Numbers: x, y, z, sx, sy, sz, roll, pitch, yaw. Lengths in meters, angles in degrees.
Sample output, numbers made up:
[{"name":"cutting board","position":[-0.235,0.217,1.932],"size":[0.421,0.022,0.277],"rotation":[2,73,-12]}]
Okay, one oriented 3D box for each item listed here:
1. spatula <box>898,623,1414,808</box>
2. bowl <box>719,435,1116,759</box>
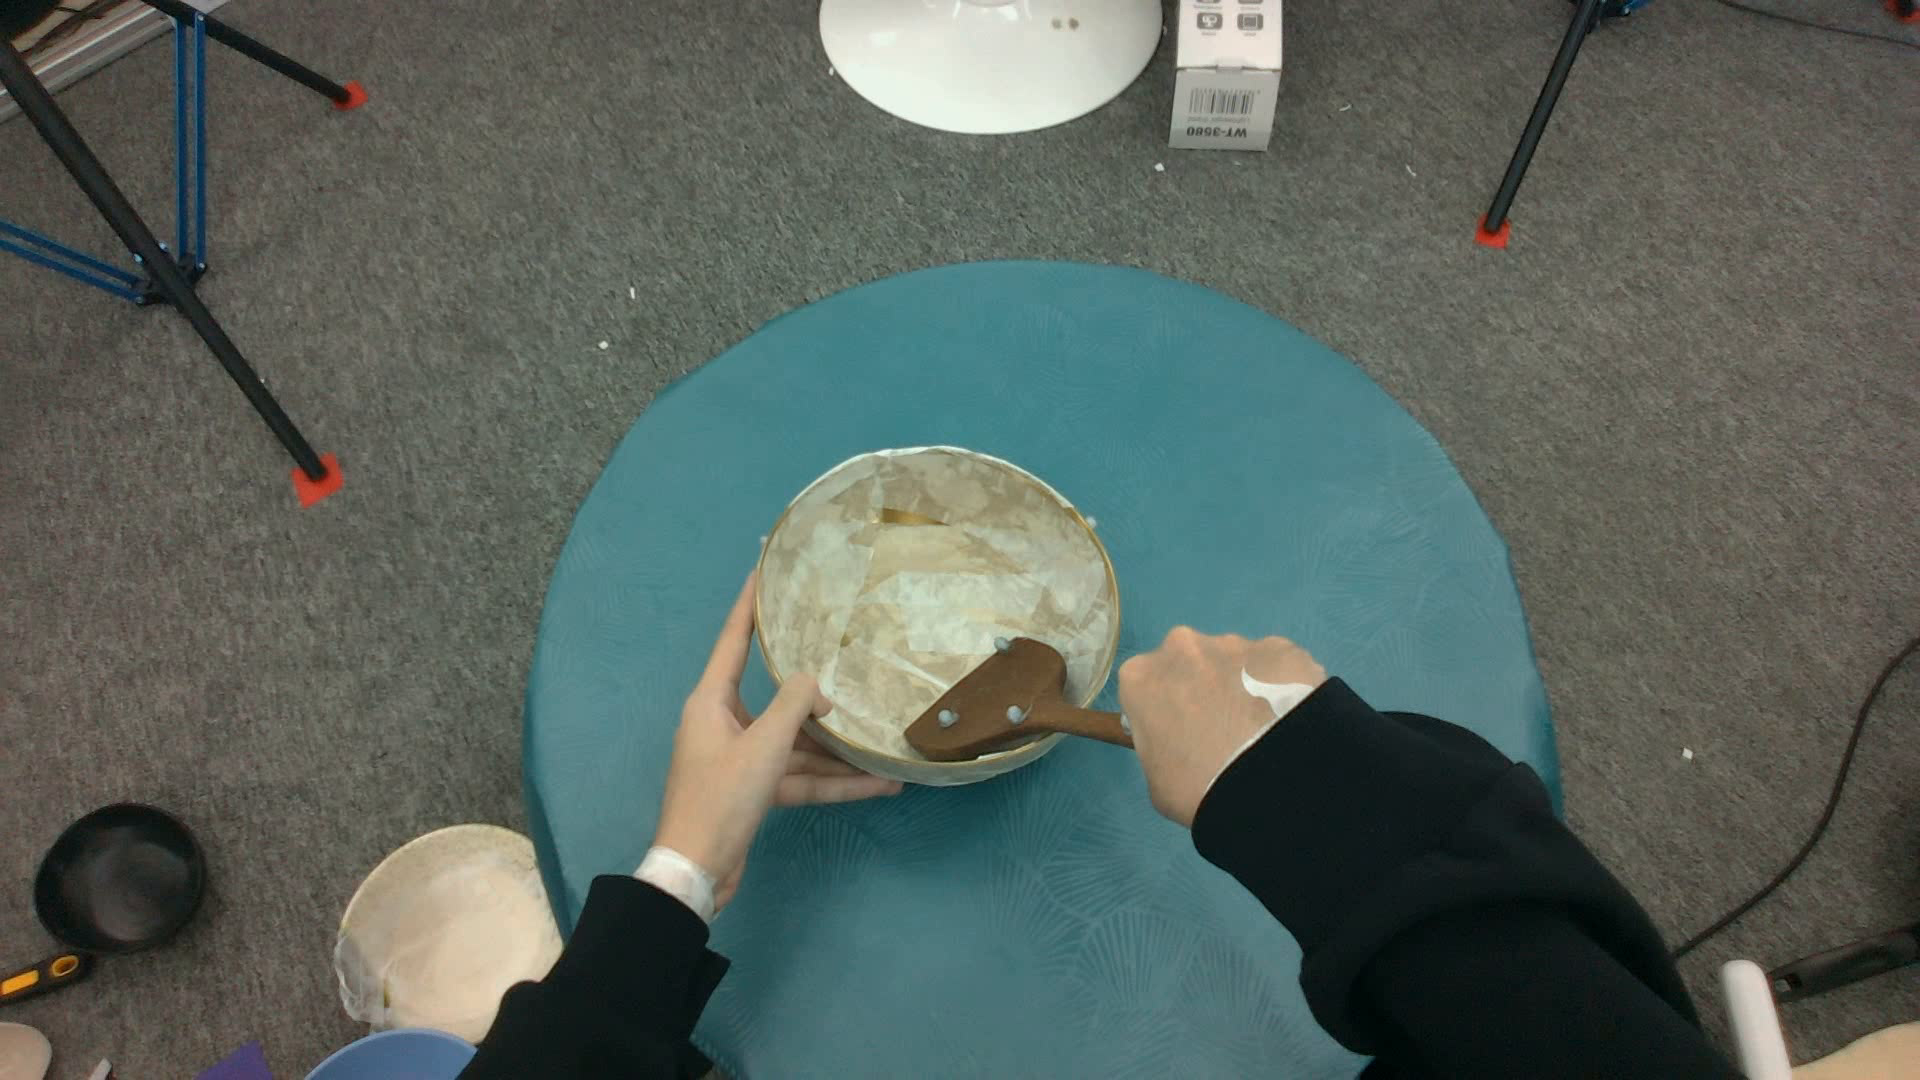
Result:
[{"name":"spatula","position":[0.069,0.080,0.632],"size":[0.096,0.385,0.016],"rotation":[-38,104,-19]},{"name":"bowl","position":[-0.026,0.046,0.764],"size":[0.215,0.094,0.215],"rotation":[6,48,-7]}]
